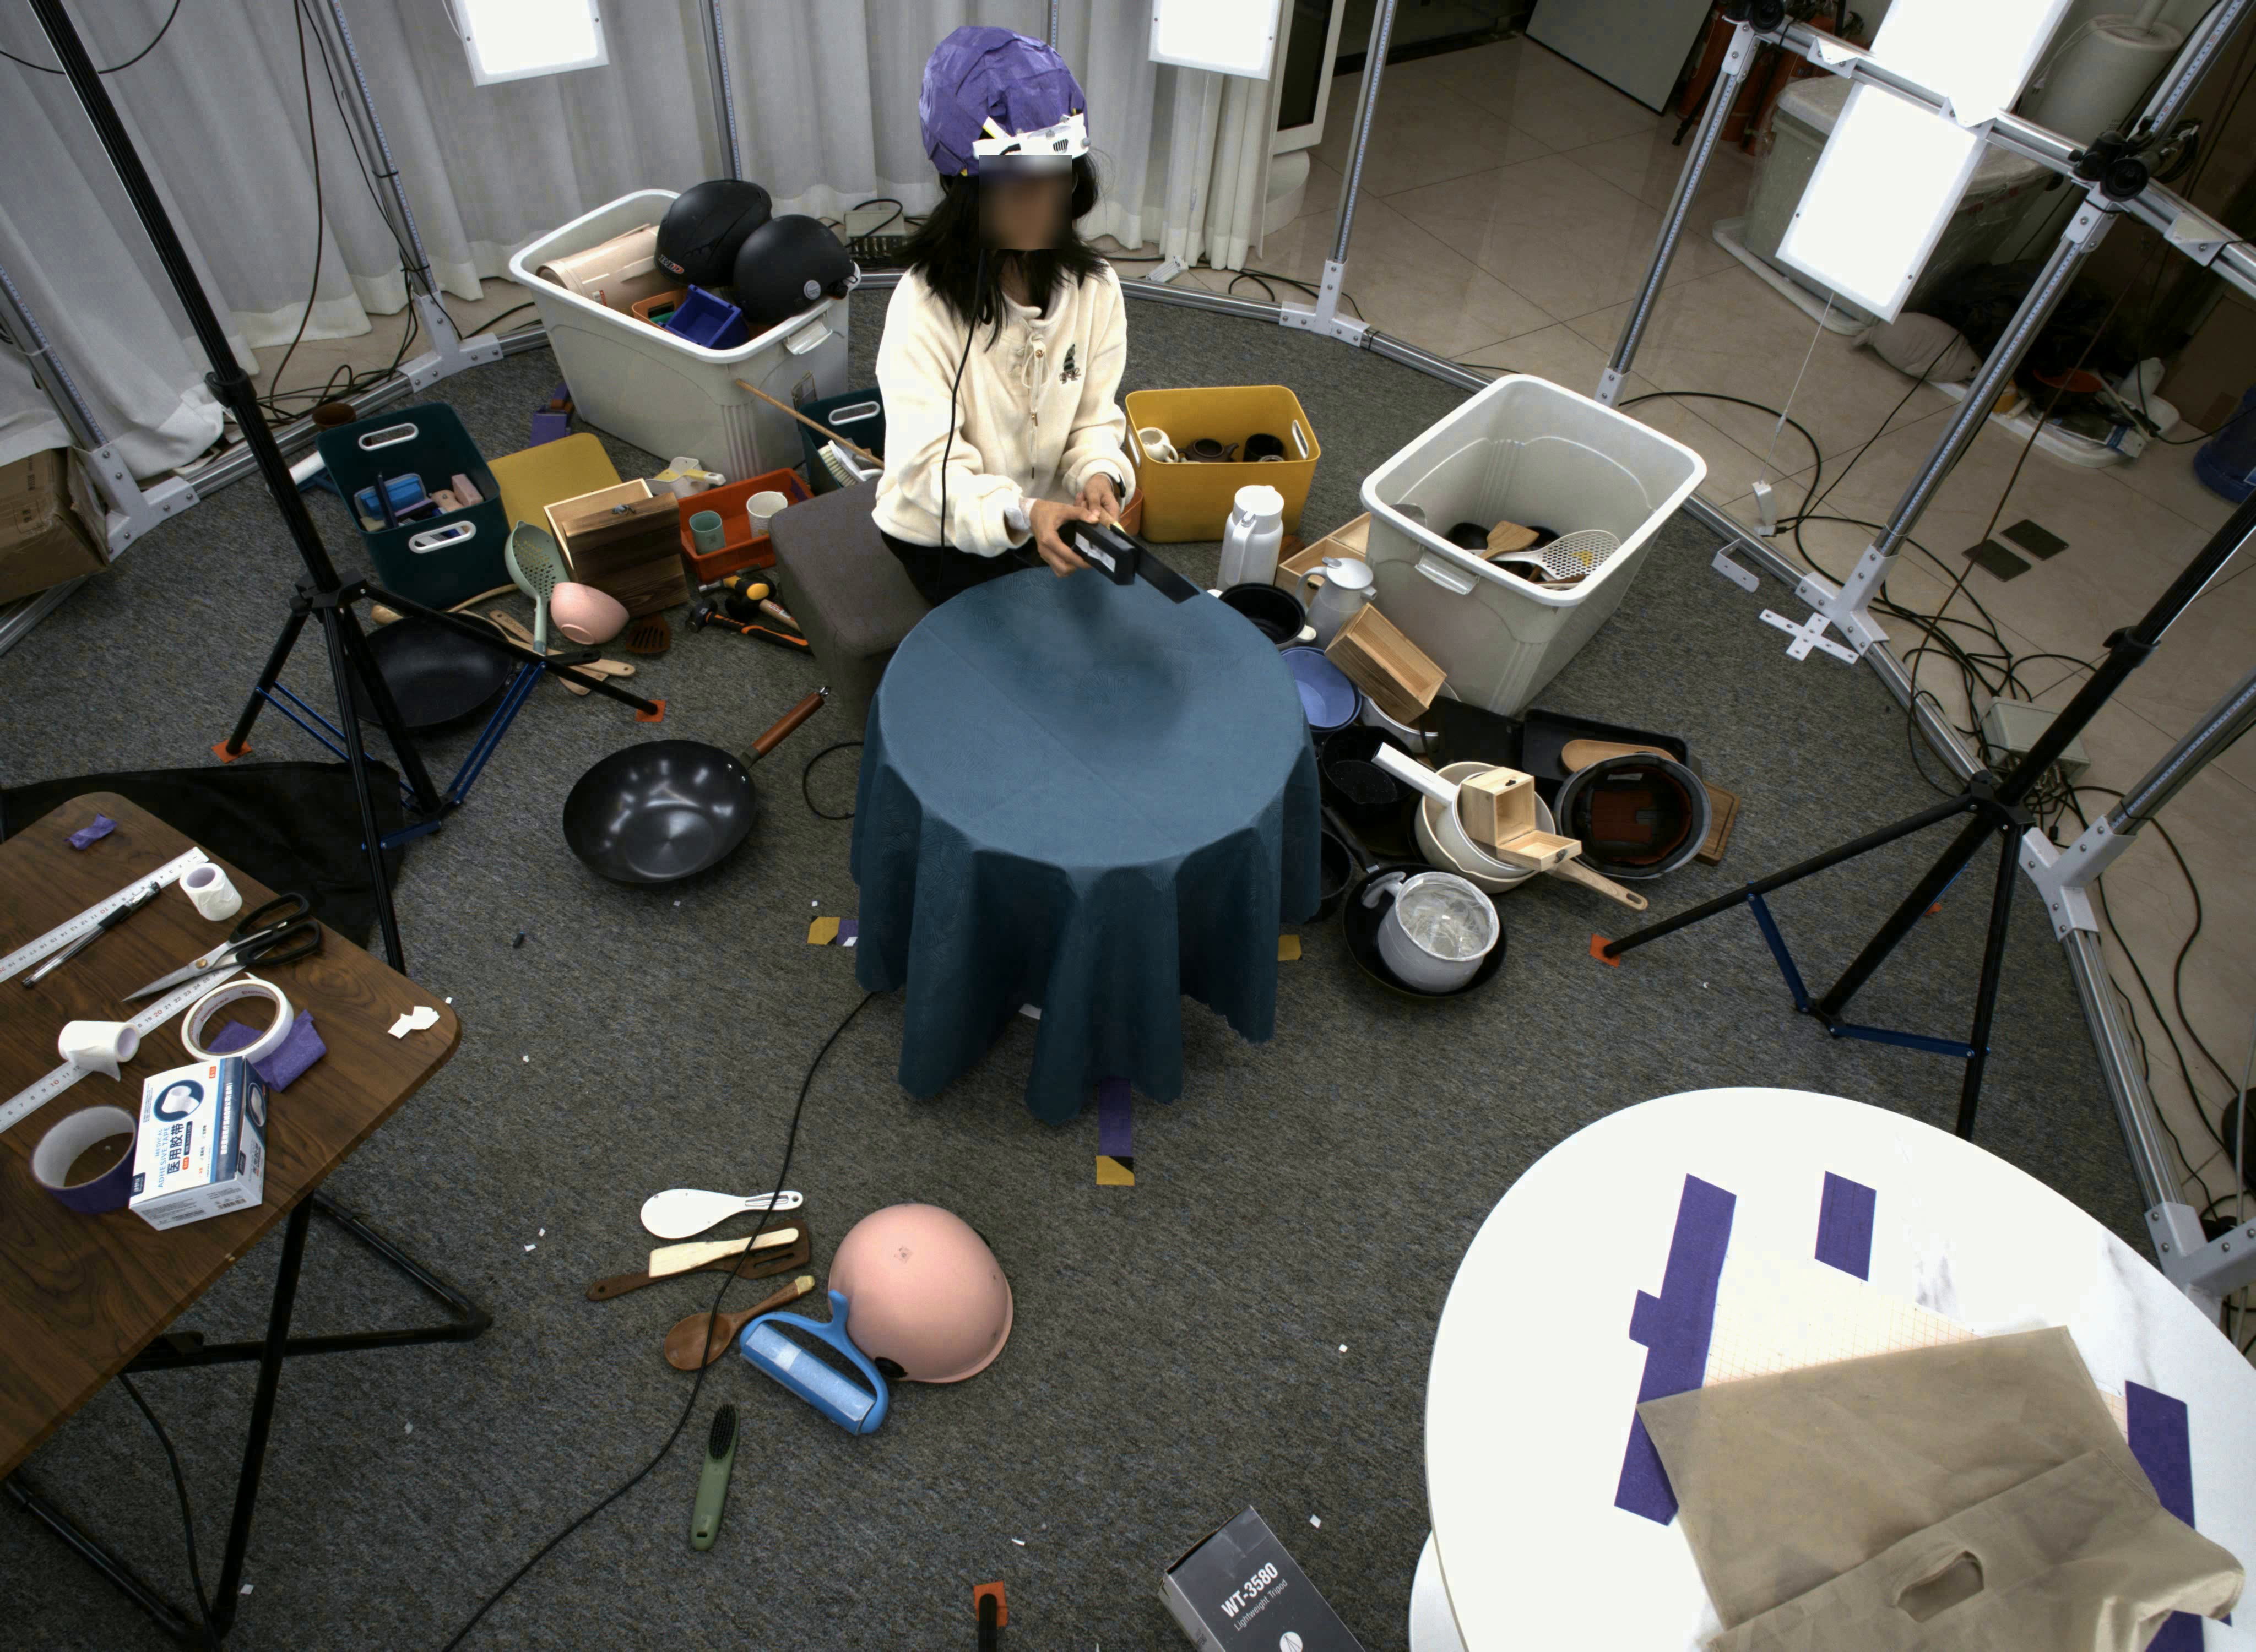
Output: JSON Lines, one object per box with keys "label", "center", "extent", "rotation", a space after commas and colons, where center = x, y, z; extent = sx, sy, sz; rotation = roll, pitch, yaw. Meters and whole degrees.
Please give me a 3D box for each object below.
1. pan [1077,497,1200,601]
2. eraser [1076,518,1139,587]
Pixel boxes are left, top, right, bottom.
{"label": "pan", "center": [-0.004, -0.411, 1.862], "extent": [0.166, 0.049, 0.331], "rotation": [30, 12, -38]}
{"label": "eraser", "center": [-0.028, -0.372, 1.744], "extent": [0.030, 0.052, 0.128], "rotation": [-9, 34, -28]}
